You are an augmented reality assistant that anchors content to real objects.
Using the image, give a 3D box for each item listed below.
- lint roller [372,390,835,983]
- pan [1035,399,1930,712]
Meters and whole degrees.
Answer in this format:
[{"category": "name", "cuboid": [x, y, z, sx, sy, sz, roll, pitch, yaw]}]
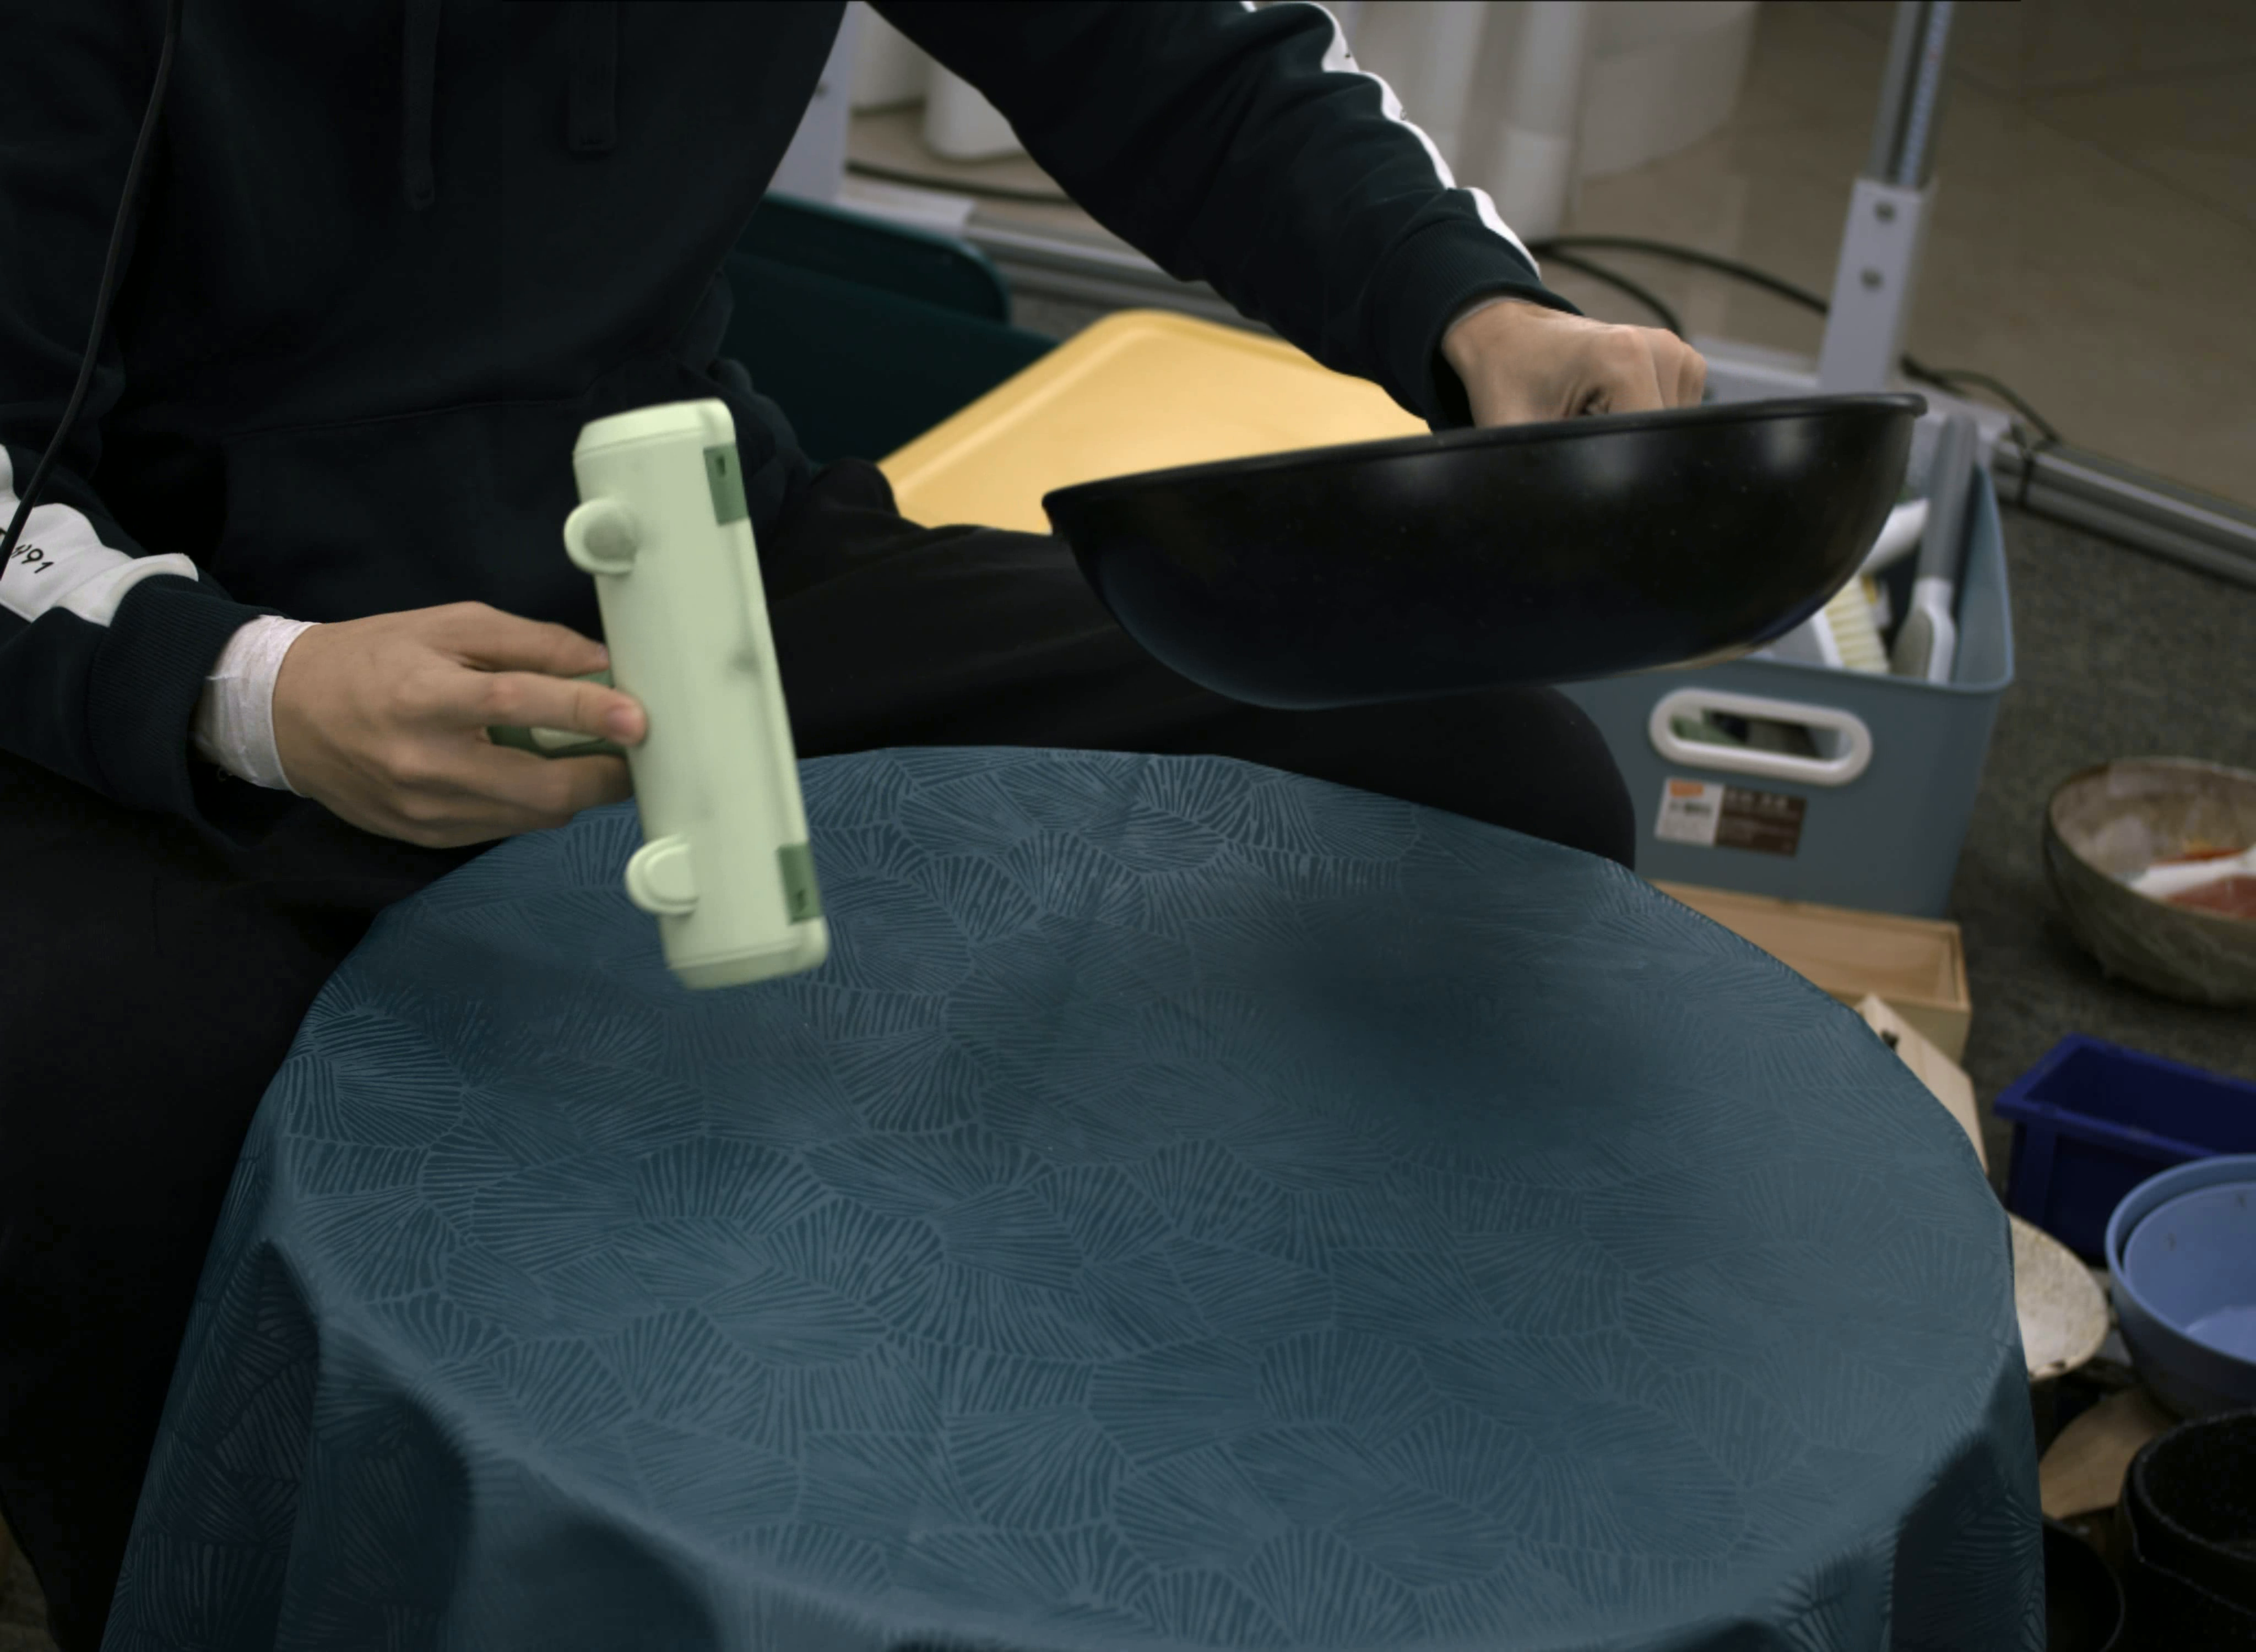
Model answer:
[{"category": "lint roller", "cuboid": [-0.196, -0.036, 1.817, 0.183, 0.199, 0.082, -11, 1, 25]}, {"category": "pan", "cuboid": [0.147, -0.104, 1.922, 0.310, 0.112, 0.475, -5, 2, 16]}]
